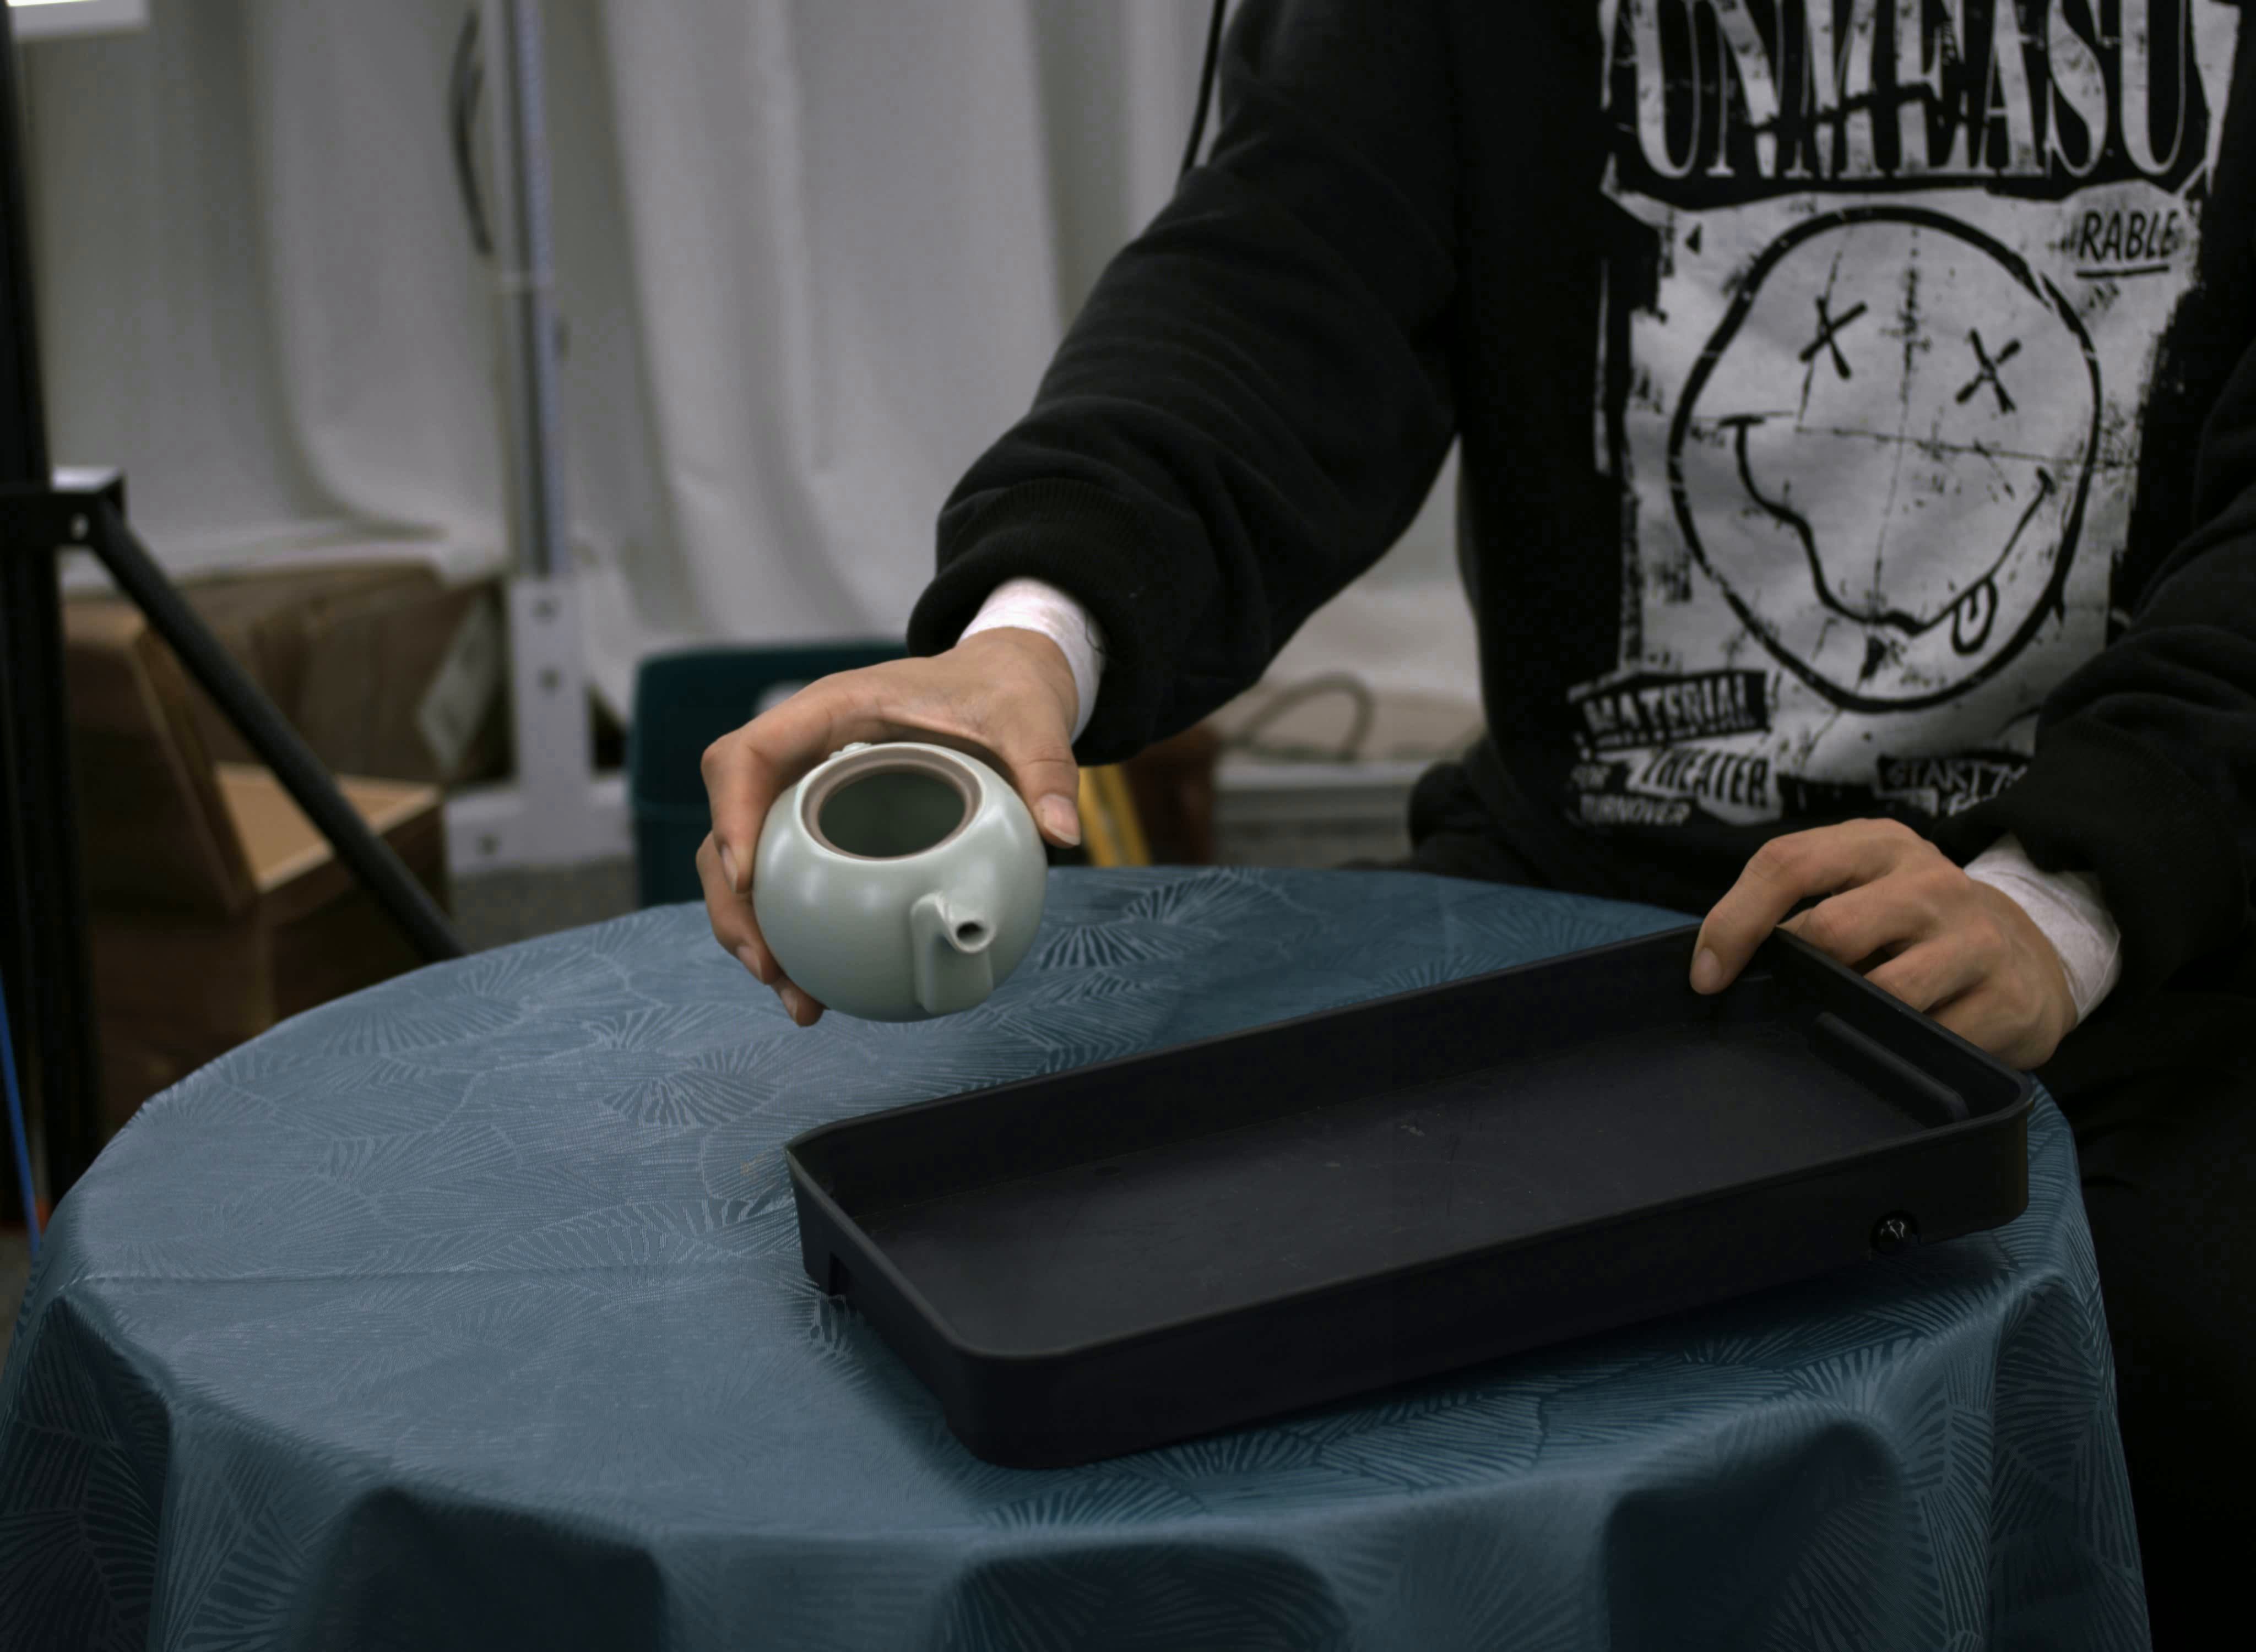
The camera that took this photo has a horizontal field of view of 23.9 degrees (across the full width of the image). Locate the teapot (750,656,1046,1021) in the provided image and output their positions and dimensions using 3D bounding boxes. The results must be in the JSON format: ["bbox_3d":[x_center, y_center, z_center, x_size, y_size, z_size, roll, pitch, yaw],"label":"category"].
[{"bbox_3d":[-0.068,0.015,1.578,0.087,0.074,0.147,-15,40,-13],"label":"teapot"}]

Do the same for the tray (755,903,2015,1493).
[{"bbox_3d":[0.071,0.097,1.465,0.312,0.037,0.188,-14,21,-19],"label":"tray"}]
